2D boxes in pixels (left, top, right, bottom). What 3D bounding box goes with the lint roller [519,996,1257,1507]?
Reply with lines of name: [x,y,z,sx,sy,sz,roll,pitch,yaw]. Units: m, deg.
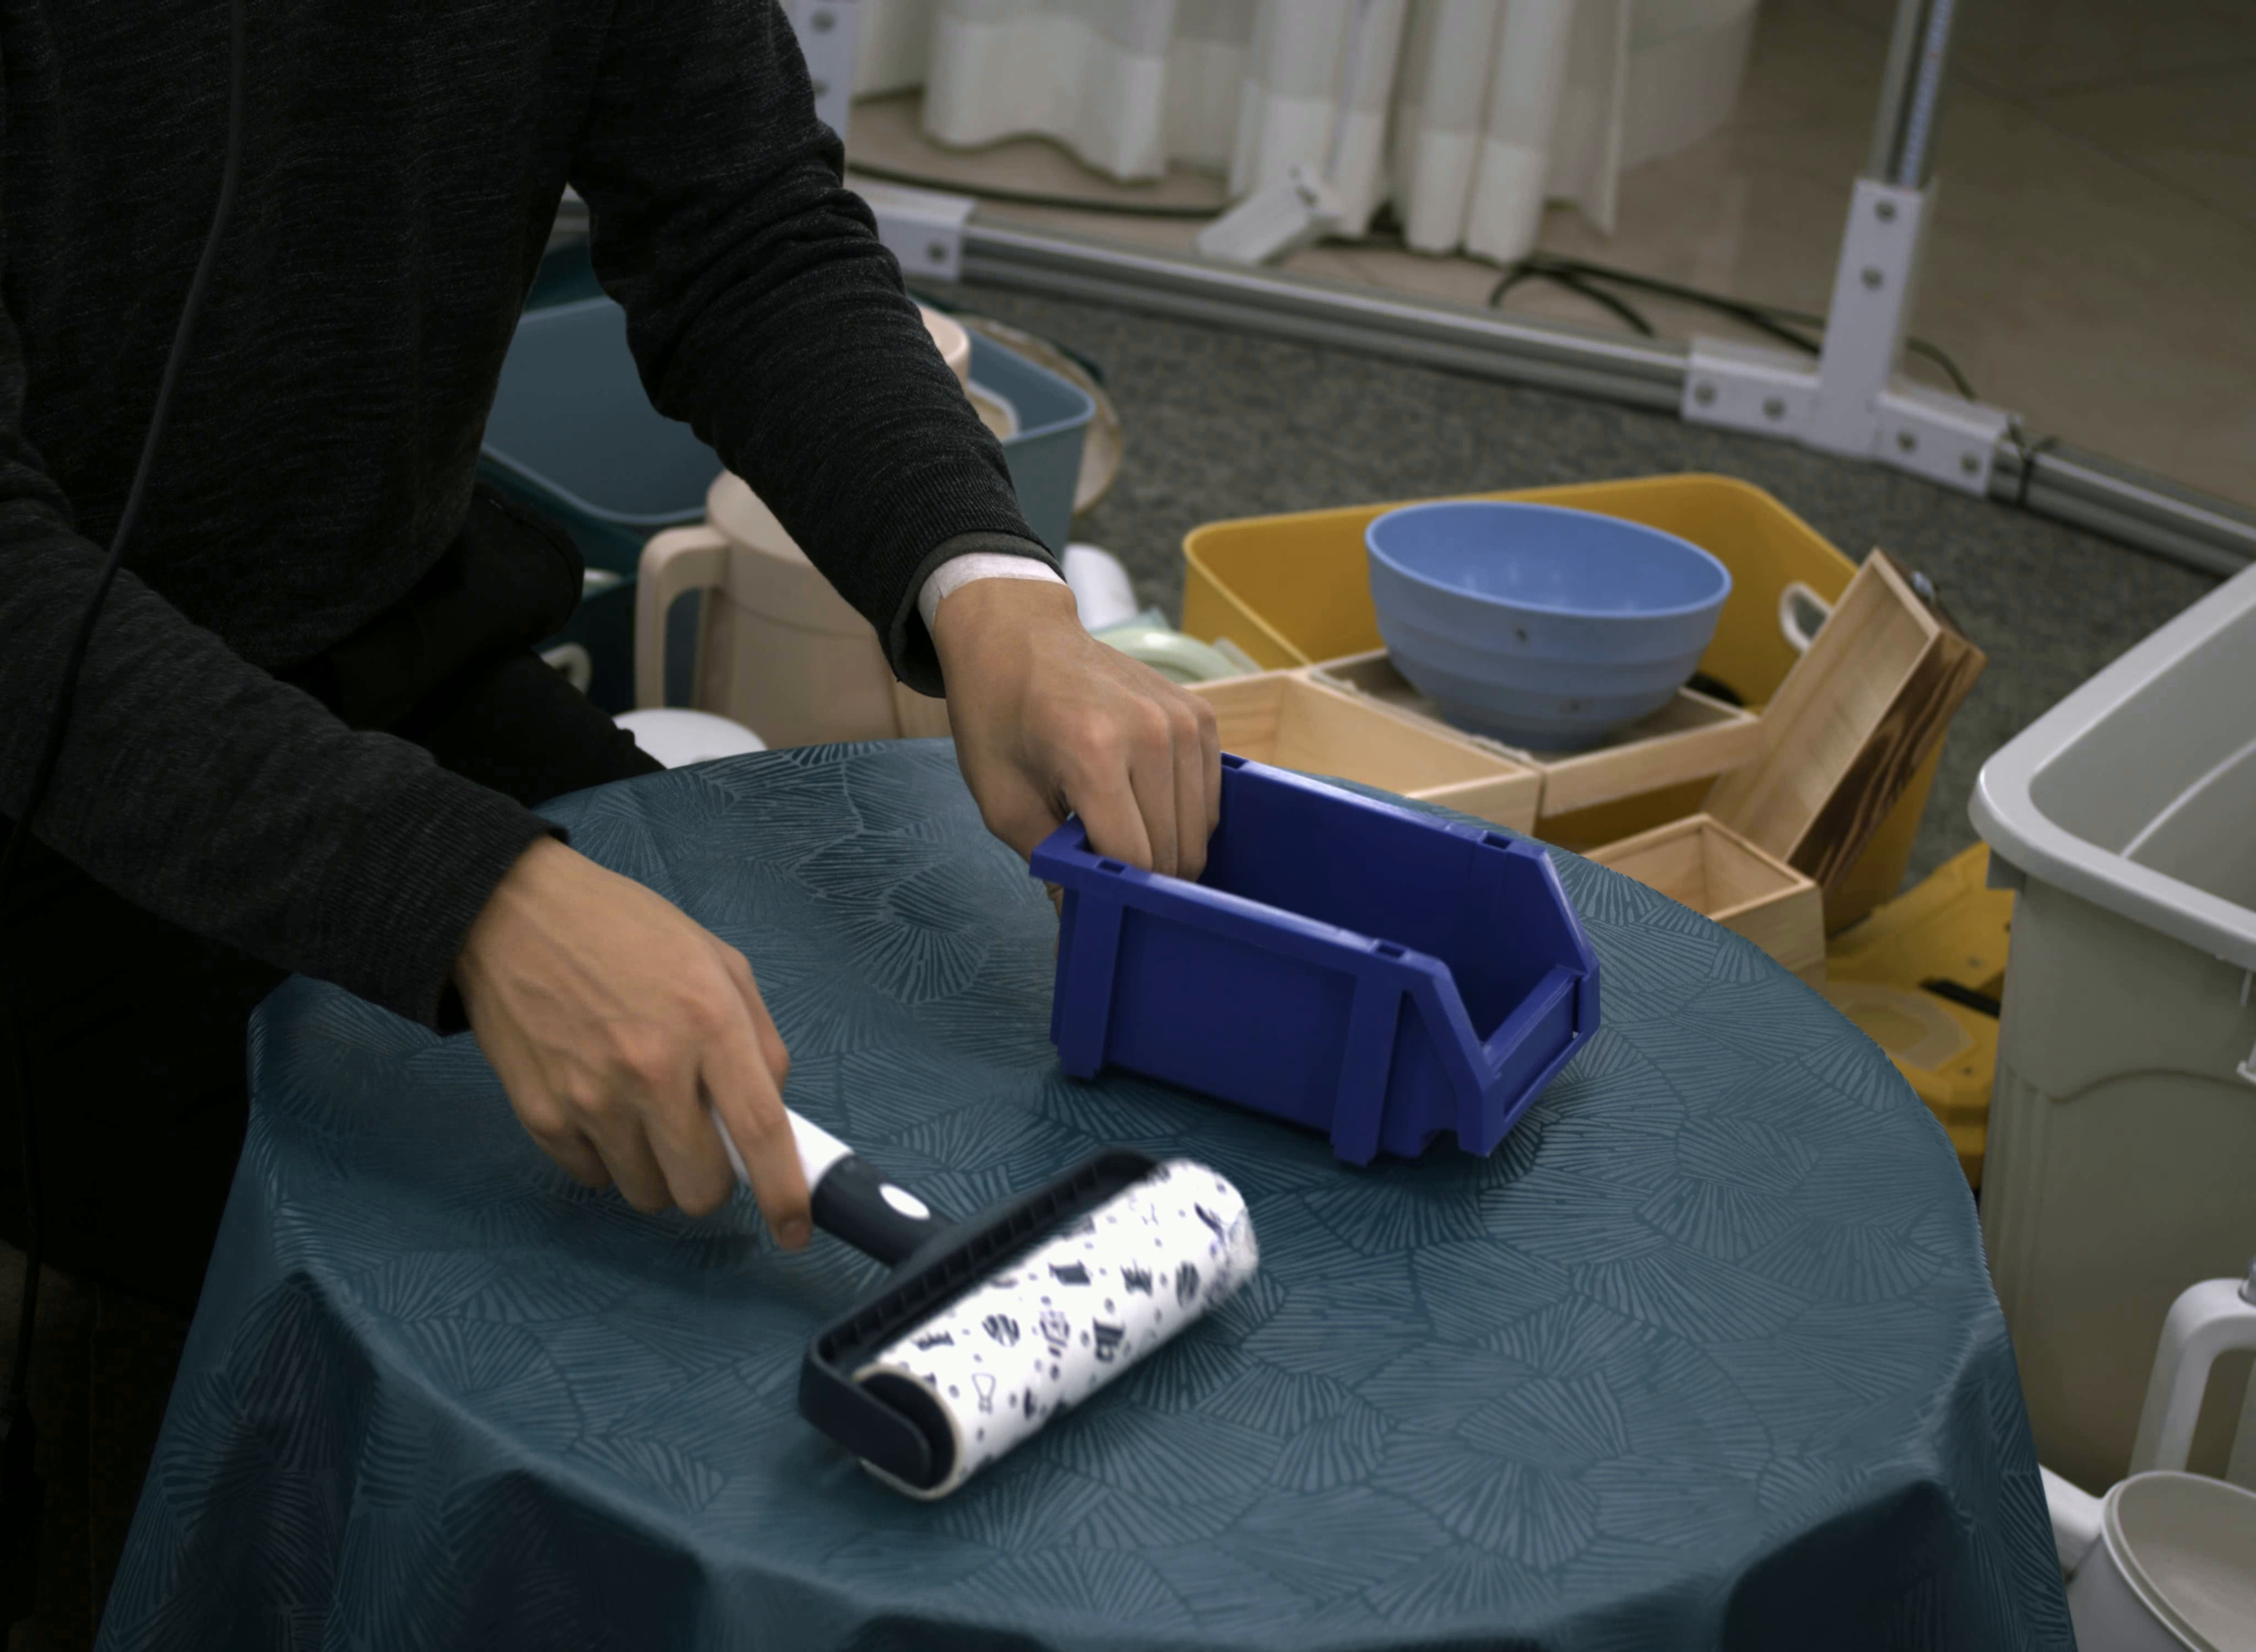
lint roller: [-0.101,0.114,1.714,0.248,0.050,0.176,31,36,25]

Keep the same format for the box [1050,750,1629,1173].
box: [0.076,0.050,1.871,0.180,0.081,0.124,15,26,21]
